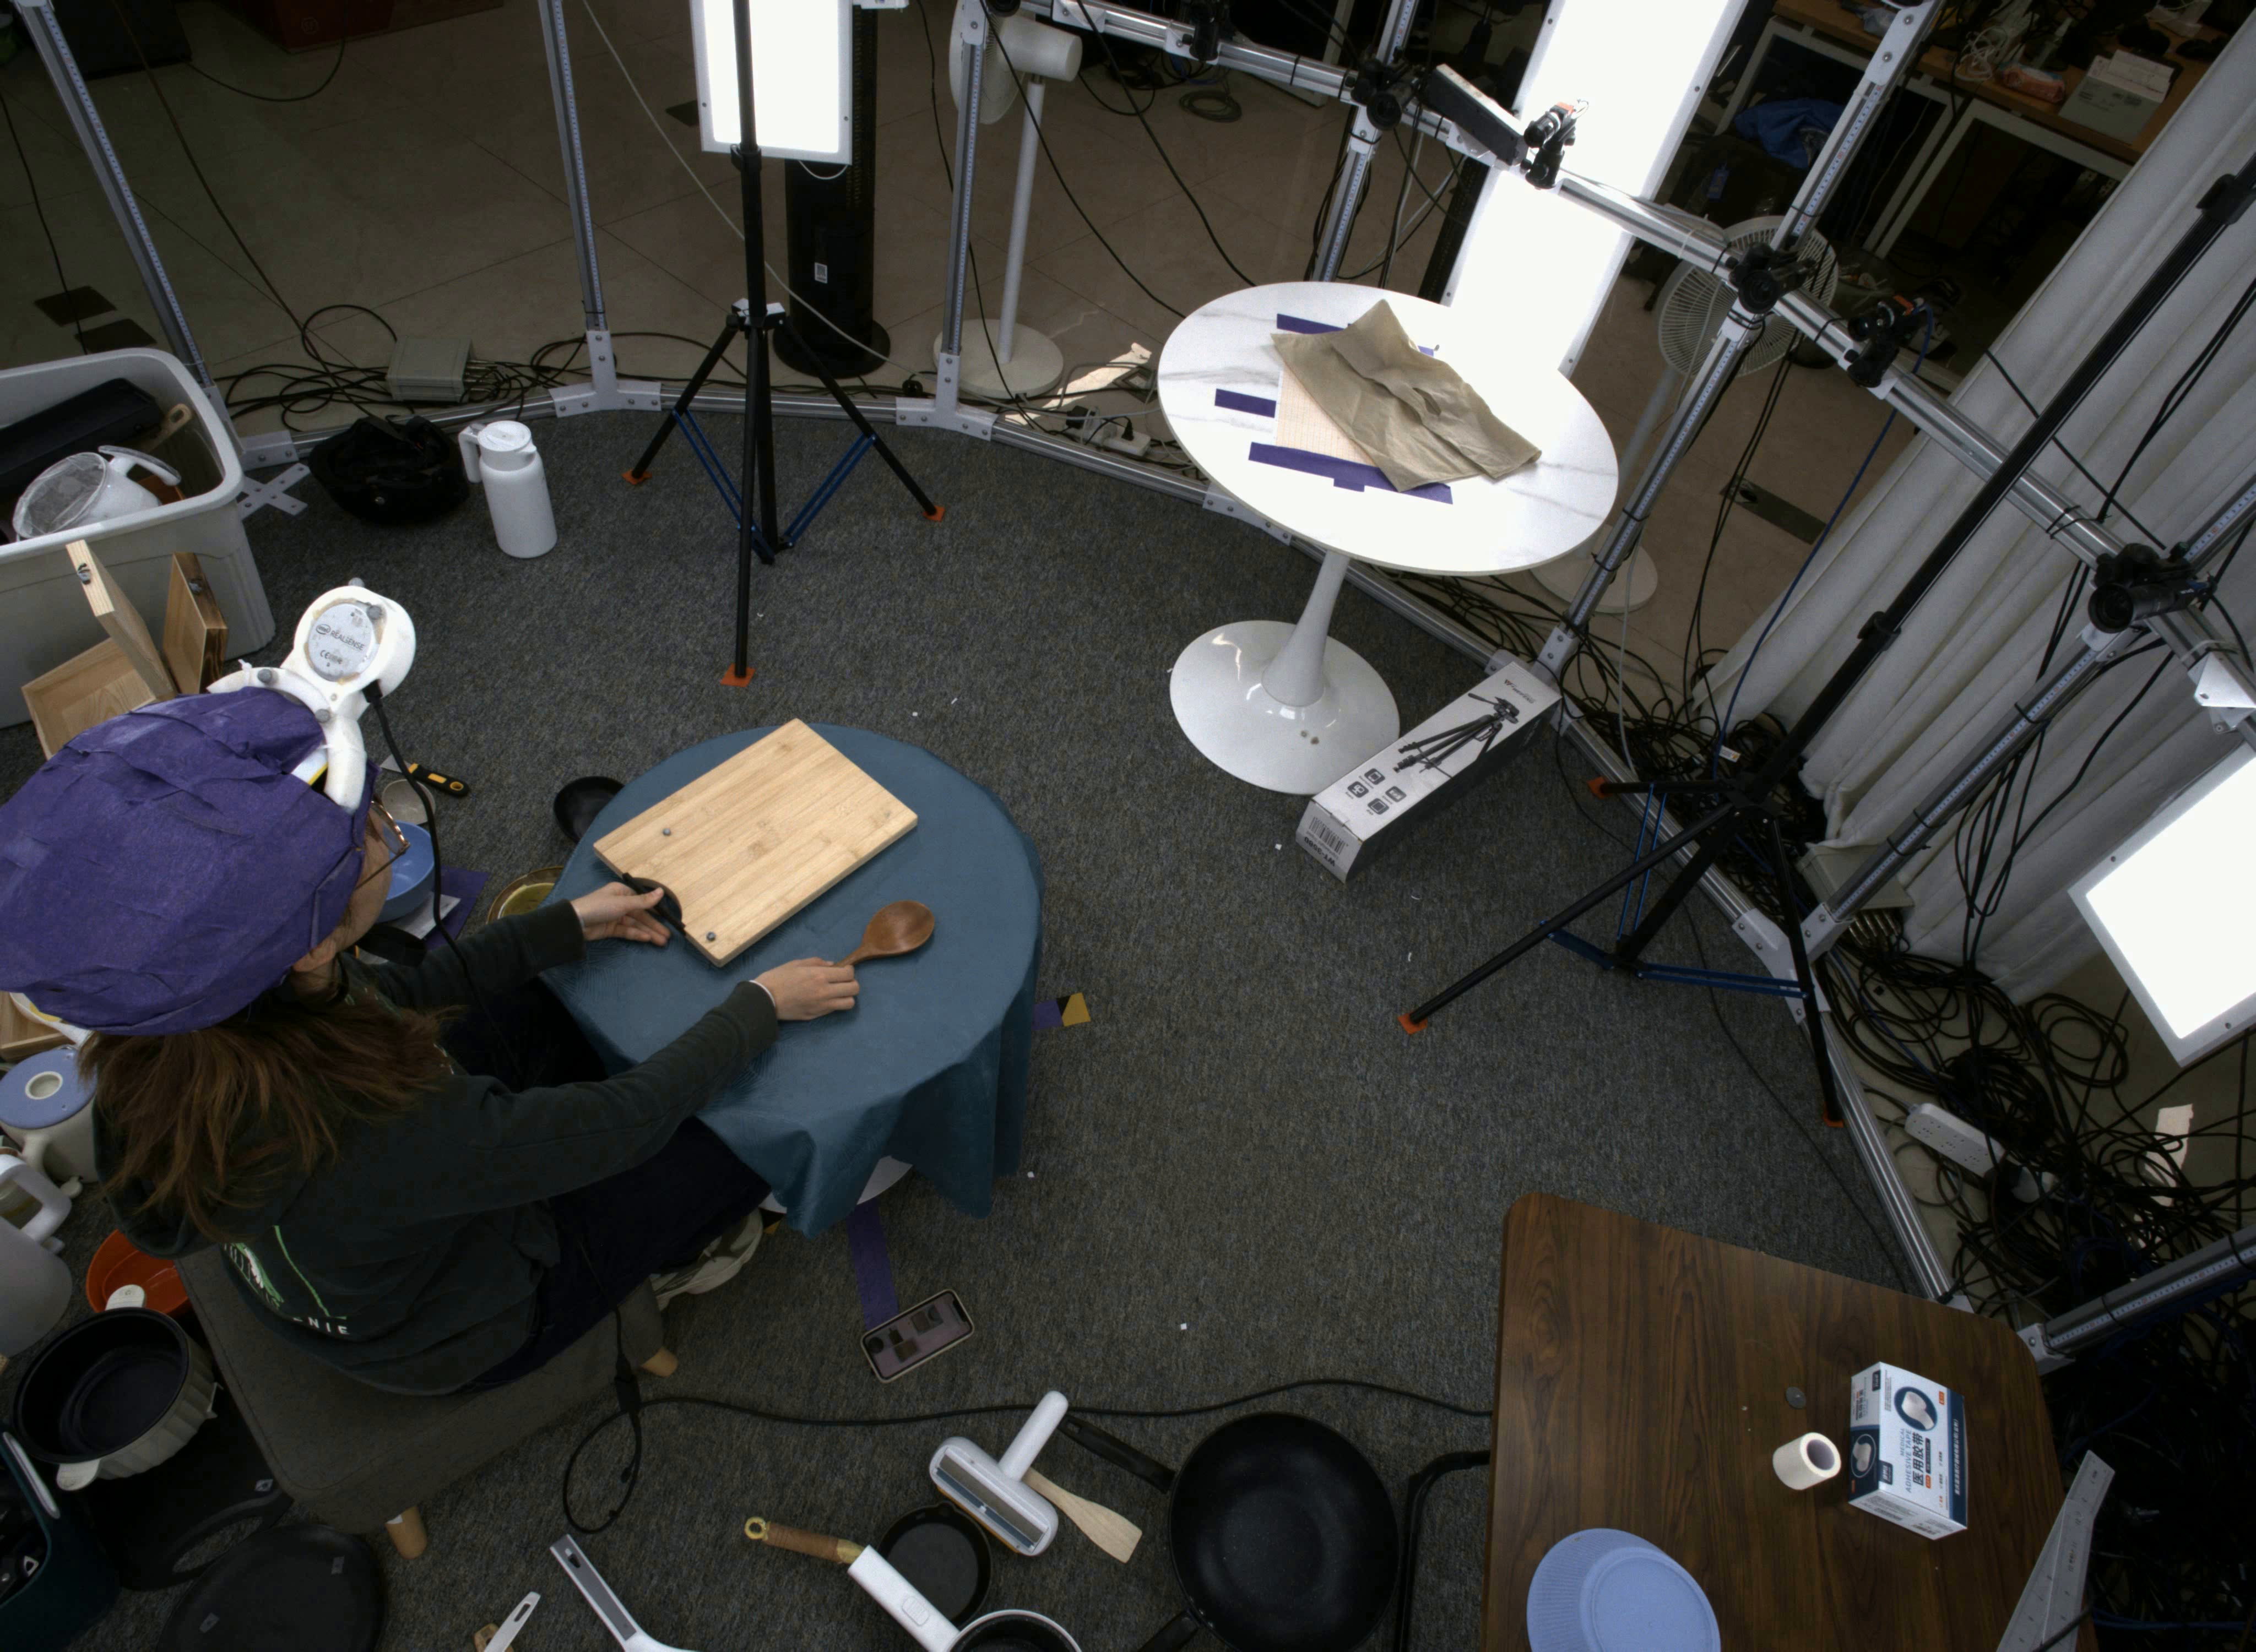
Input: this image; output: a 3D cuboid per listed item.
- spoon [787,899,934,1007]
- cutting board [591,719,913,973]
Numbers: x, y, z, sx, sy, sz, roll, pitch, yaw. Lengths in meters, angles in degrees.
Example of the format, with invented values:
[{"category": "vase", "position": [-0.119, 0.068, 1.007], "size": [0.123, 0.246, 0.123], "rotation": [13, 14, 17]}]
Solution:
[{"category": "spoon", "position": [-0.334, 0.158, 1.623], "size": [0.216, 0.017, 0.074], "rotation": [-34, 70, -33]}, {"category": "cutting board", "position": [-0.483, 0.014, 1.683], "size": [0.245, 0.024, 0.349], "rotation": [37, 51, 14]}]
